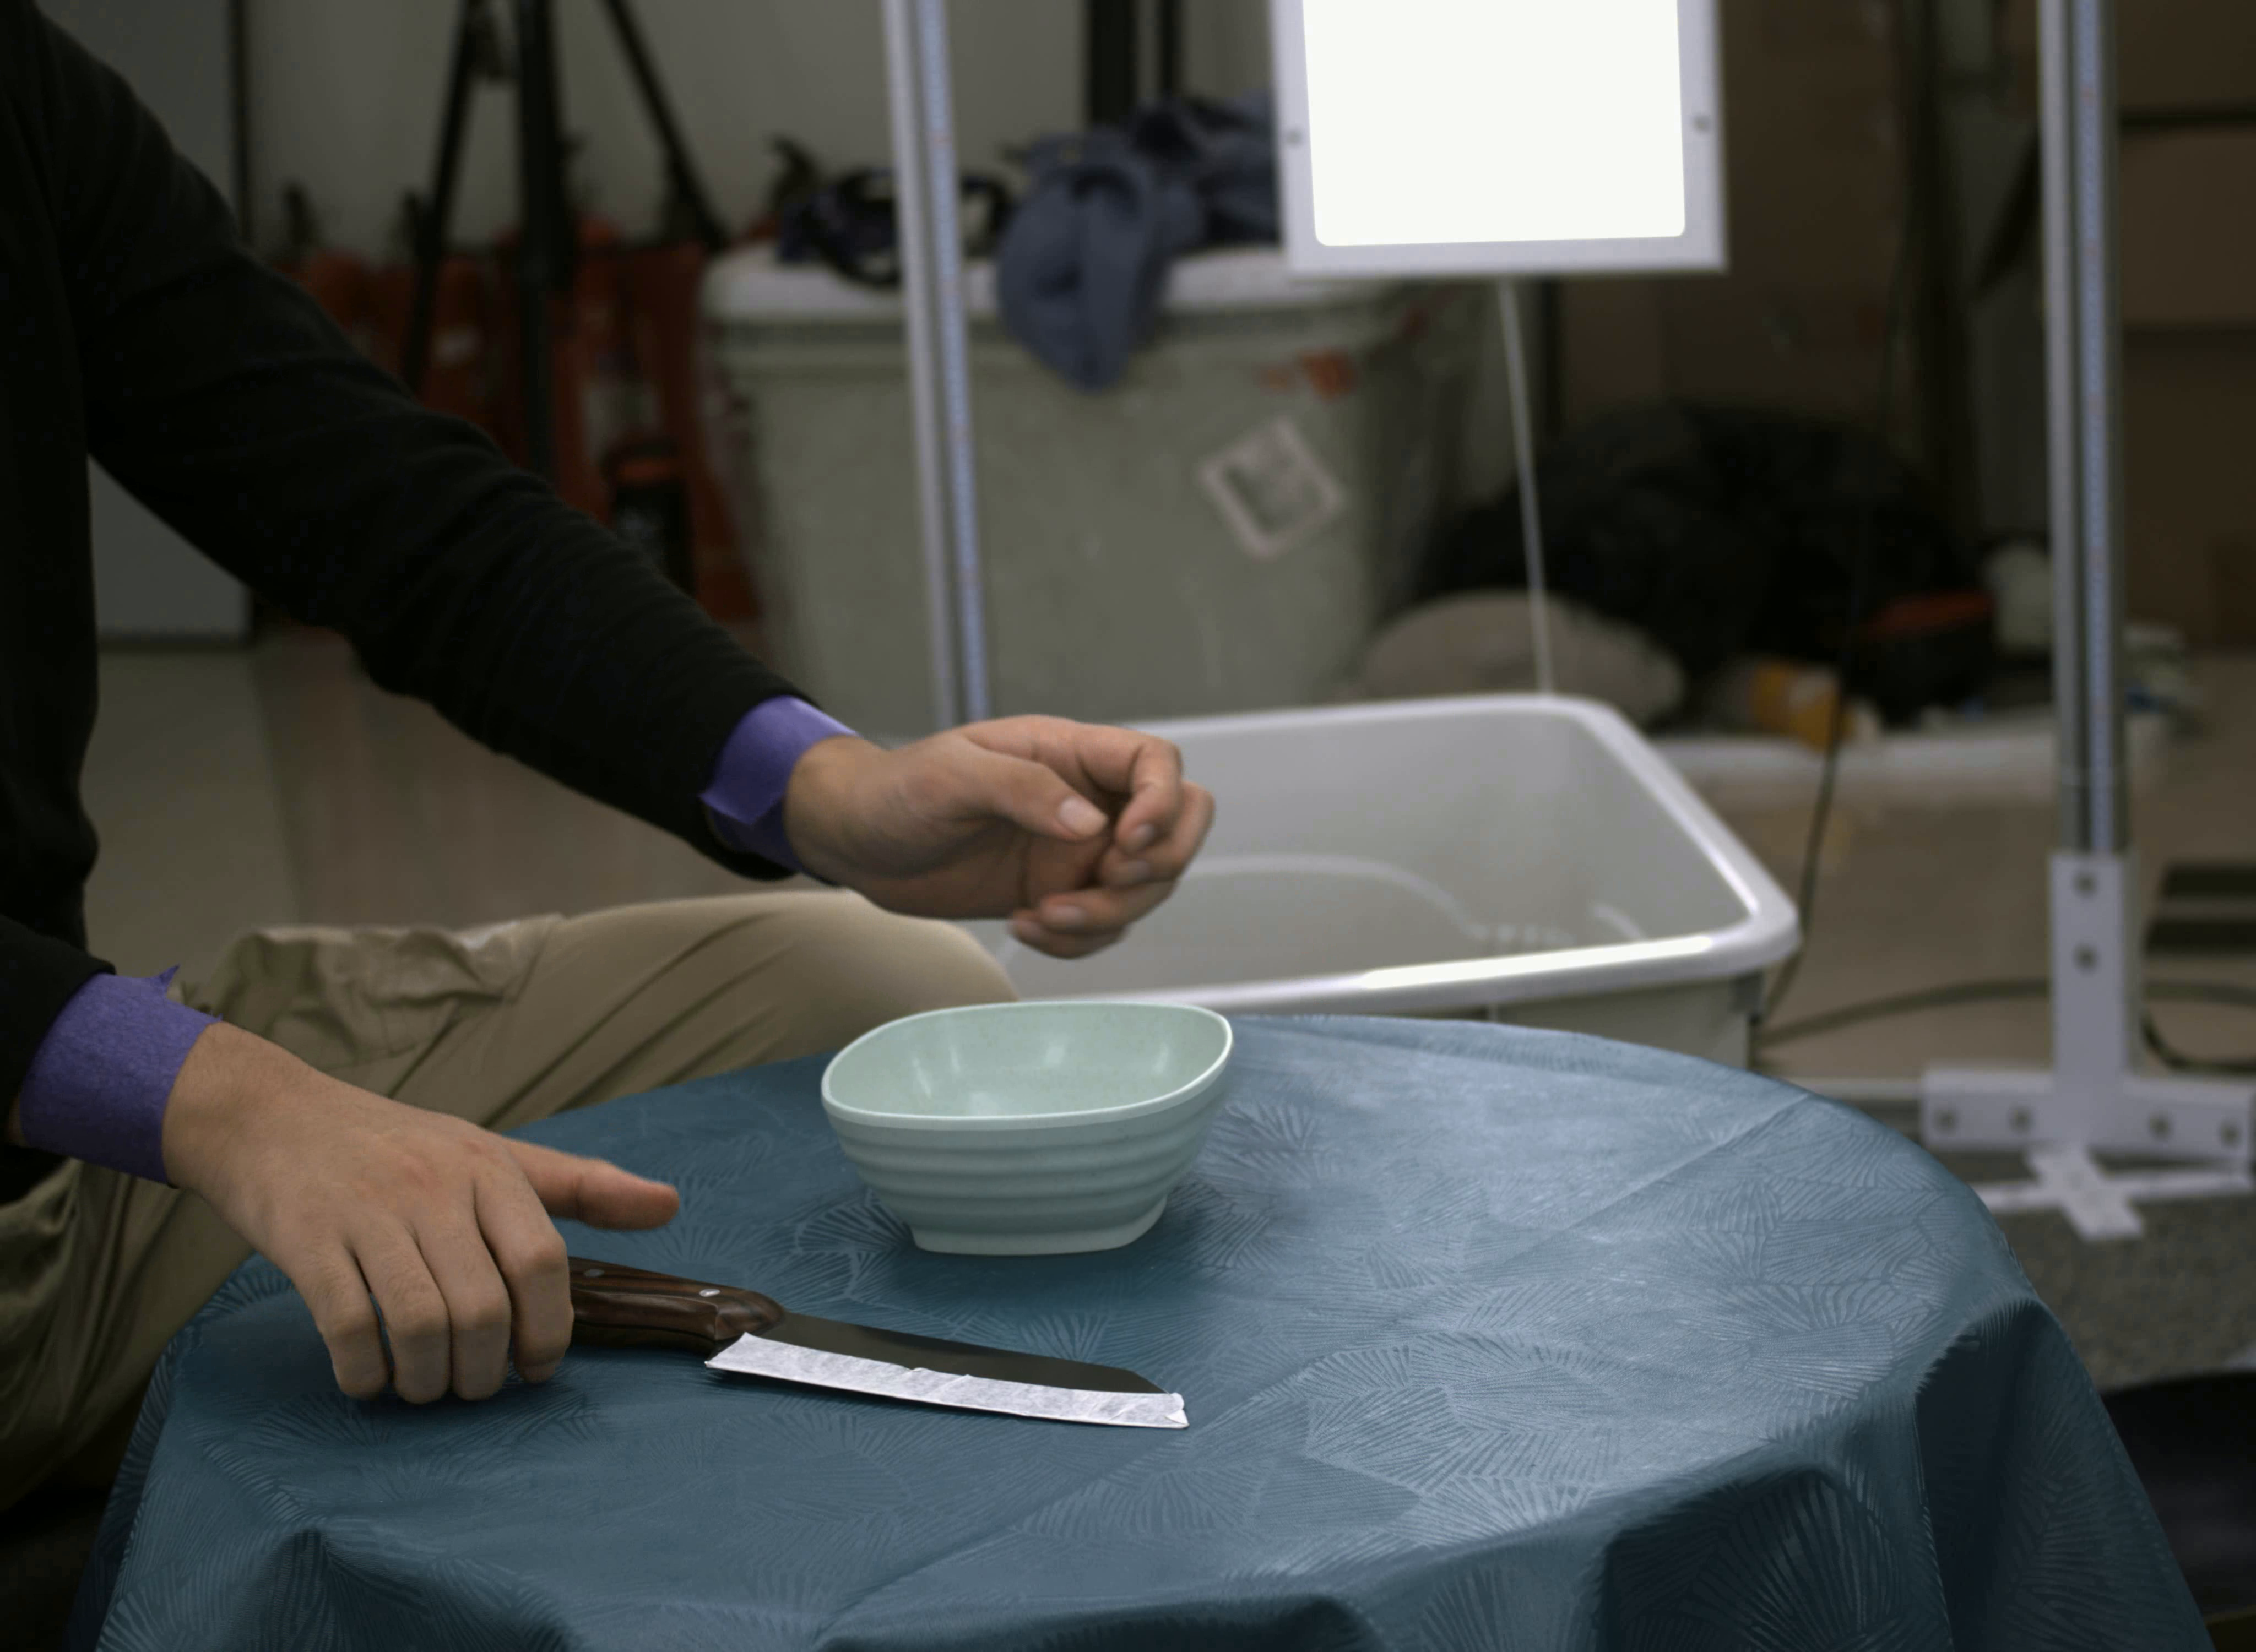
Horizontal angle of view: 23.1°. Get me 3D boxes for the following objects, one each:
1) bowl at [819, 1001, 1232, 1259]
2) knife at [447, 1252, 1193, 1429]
[{"bbox_3d":[-0.033,0.106,1.876,0.151,0.059,0.151,-3,14,-1],"label":"bowl"},{"bbox_3d":[-0.102,0.165,1.749,0.295,0.020,0.049,7,23,33],"label":"knife"}]
